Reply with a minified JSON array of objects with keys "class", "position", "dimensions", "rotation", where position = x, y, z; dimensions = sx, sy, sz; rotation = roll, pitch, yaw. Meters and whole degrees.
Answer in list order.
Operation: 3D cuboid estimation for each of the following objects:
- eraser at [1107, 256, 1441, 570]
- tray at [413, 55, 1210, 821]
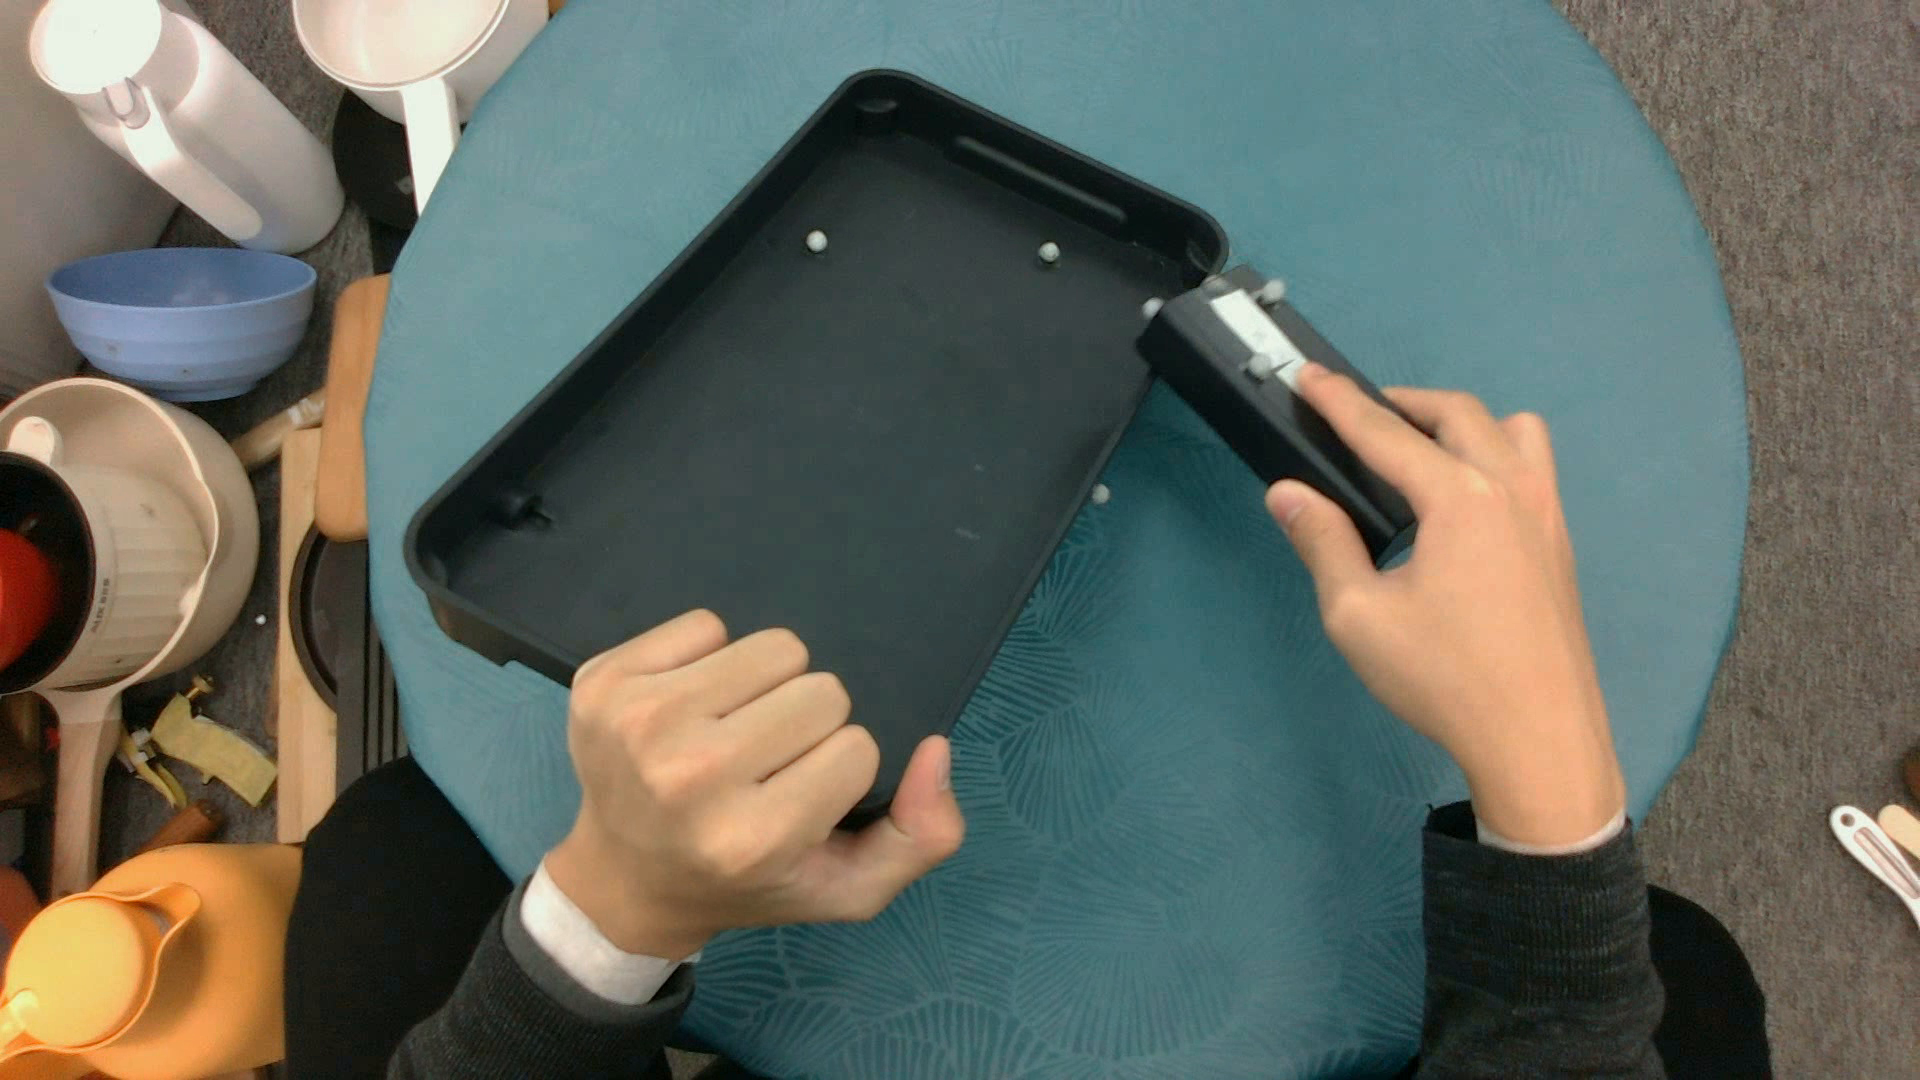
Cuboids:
[{"class":"eraser","position":[0.115,-0.049,0.513],"dimensions":[0.054,0.030,0.125],"rotation":[-33,71,-31]},{"class":"tray","position":[-0.036,-0.062,0.523],"dimensions":[0.184,0.037,0.319],"rotation":[25,55,6]}]
